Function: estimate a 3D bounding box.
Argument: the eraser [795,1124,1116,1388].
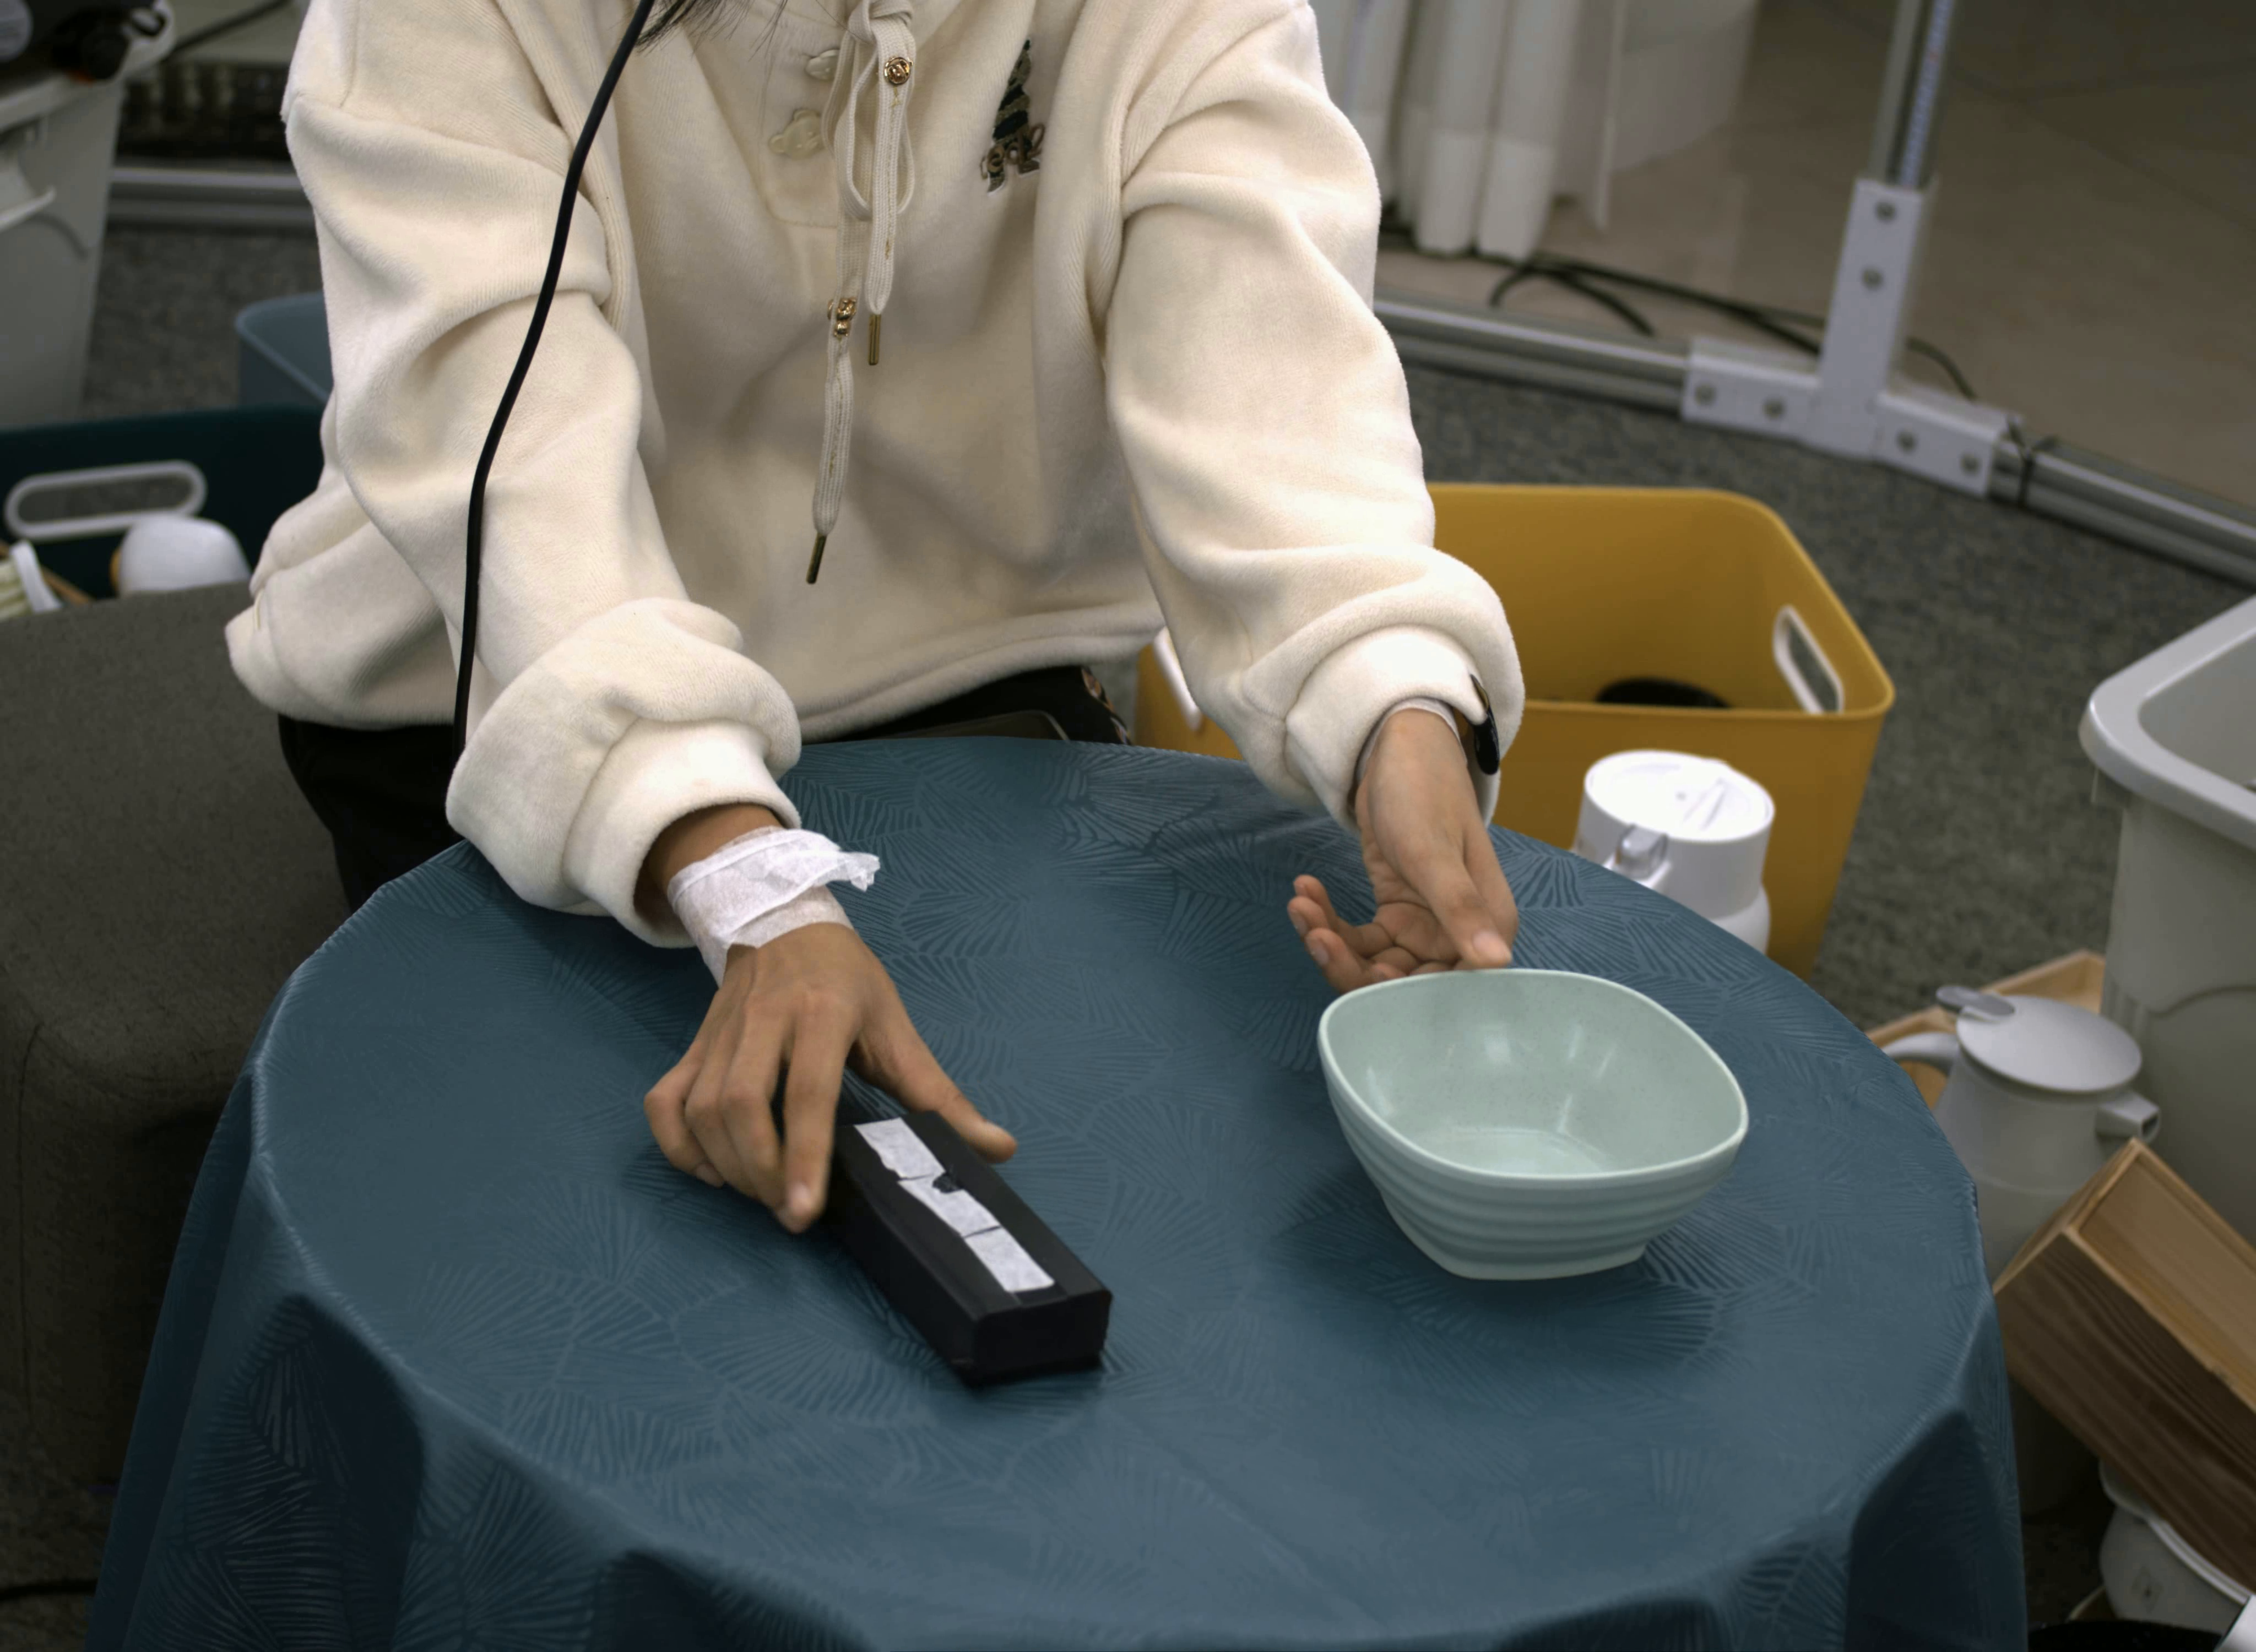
[{"bbox_3d":[-0.057,0.139,1.730,0.053,0.030,0.126,-8,28,-30],"label":"eraser"}]

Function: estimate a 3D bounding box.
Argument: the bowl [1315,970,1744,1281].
[{"bbox_3d":[0.131,0.107,1.802,0.151,0.058,0.152,8,26,-4],"label":"bowl"}]
